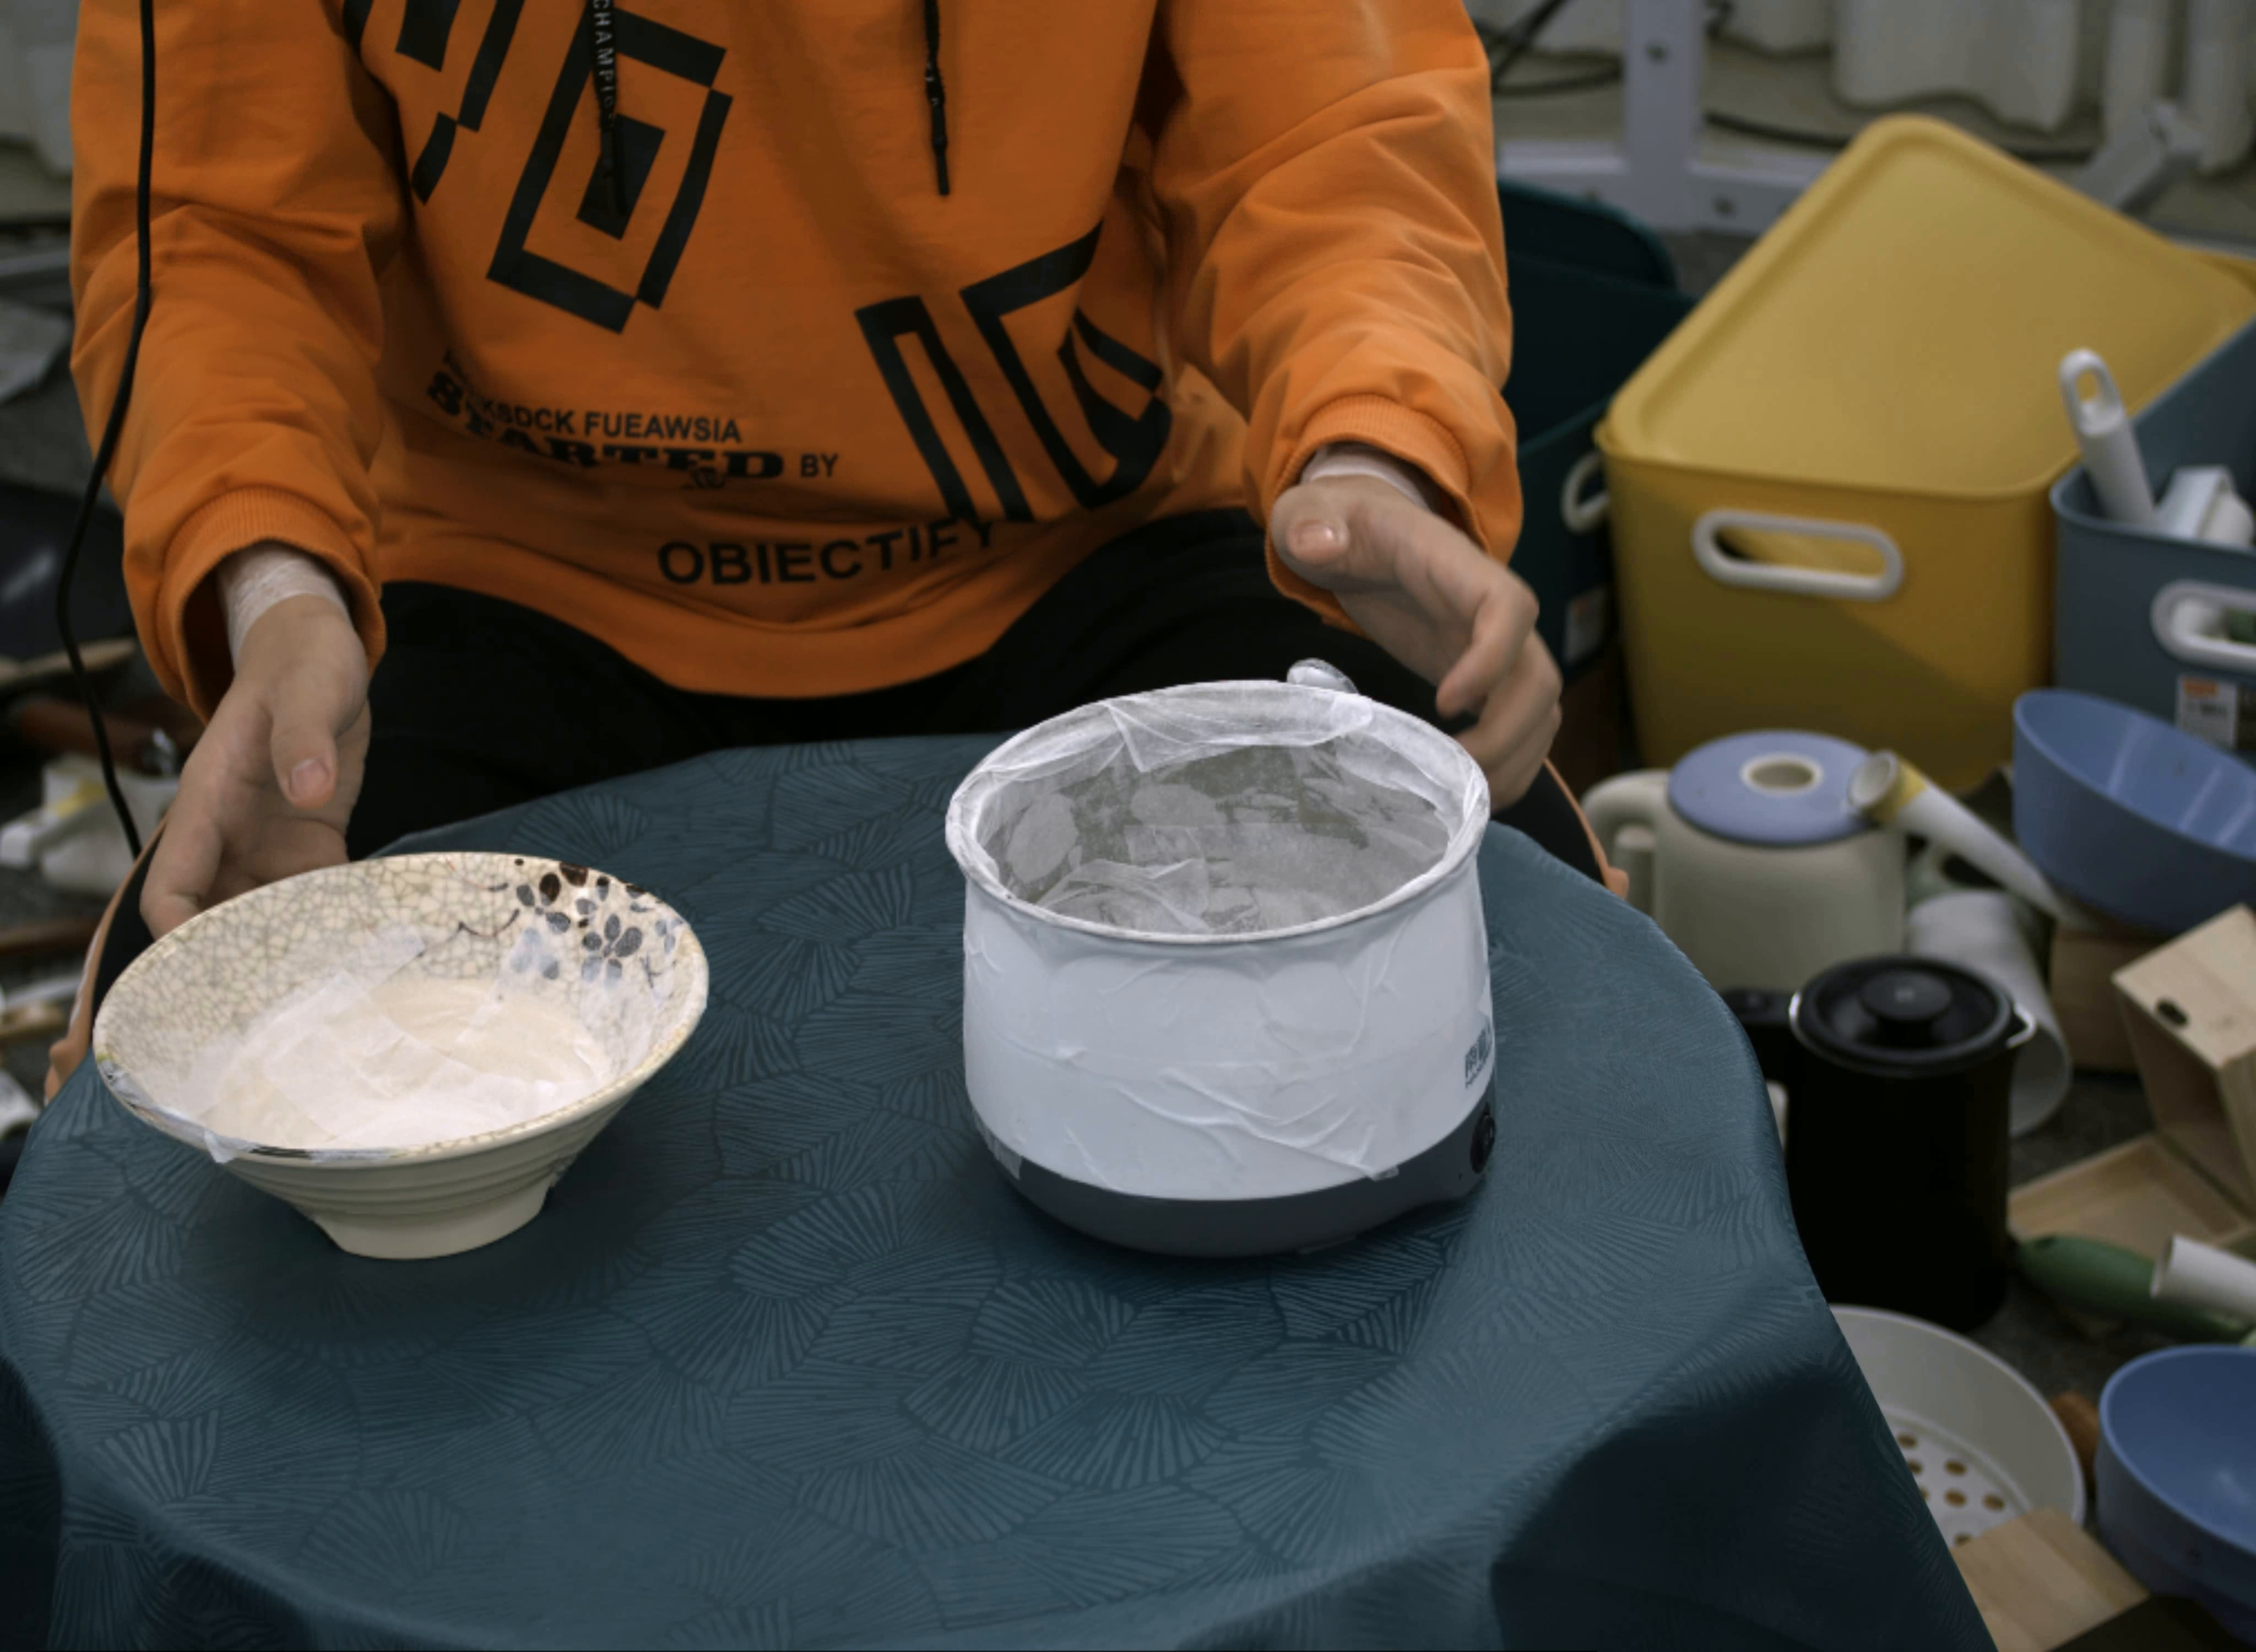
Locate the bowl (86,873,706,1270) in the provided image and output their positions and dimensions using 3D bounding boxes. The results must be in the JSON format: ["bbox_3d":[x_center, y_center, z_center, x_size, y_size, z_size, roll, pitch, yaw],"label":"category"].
[{"bbox_3d":[-0.239,0.093,1.862,0.203,0.077,0.207,-2,24,1],"label":"bowl"}]

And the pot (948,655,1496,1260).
[{"bbox_3d":[0.041,0.036,1.875,0.177,0.135,0.238,7,29,17],"label":"pot"}]
